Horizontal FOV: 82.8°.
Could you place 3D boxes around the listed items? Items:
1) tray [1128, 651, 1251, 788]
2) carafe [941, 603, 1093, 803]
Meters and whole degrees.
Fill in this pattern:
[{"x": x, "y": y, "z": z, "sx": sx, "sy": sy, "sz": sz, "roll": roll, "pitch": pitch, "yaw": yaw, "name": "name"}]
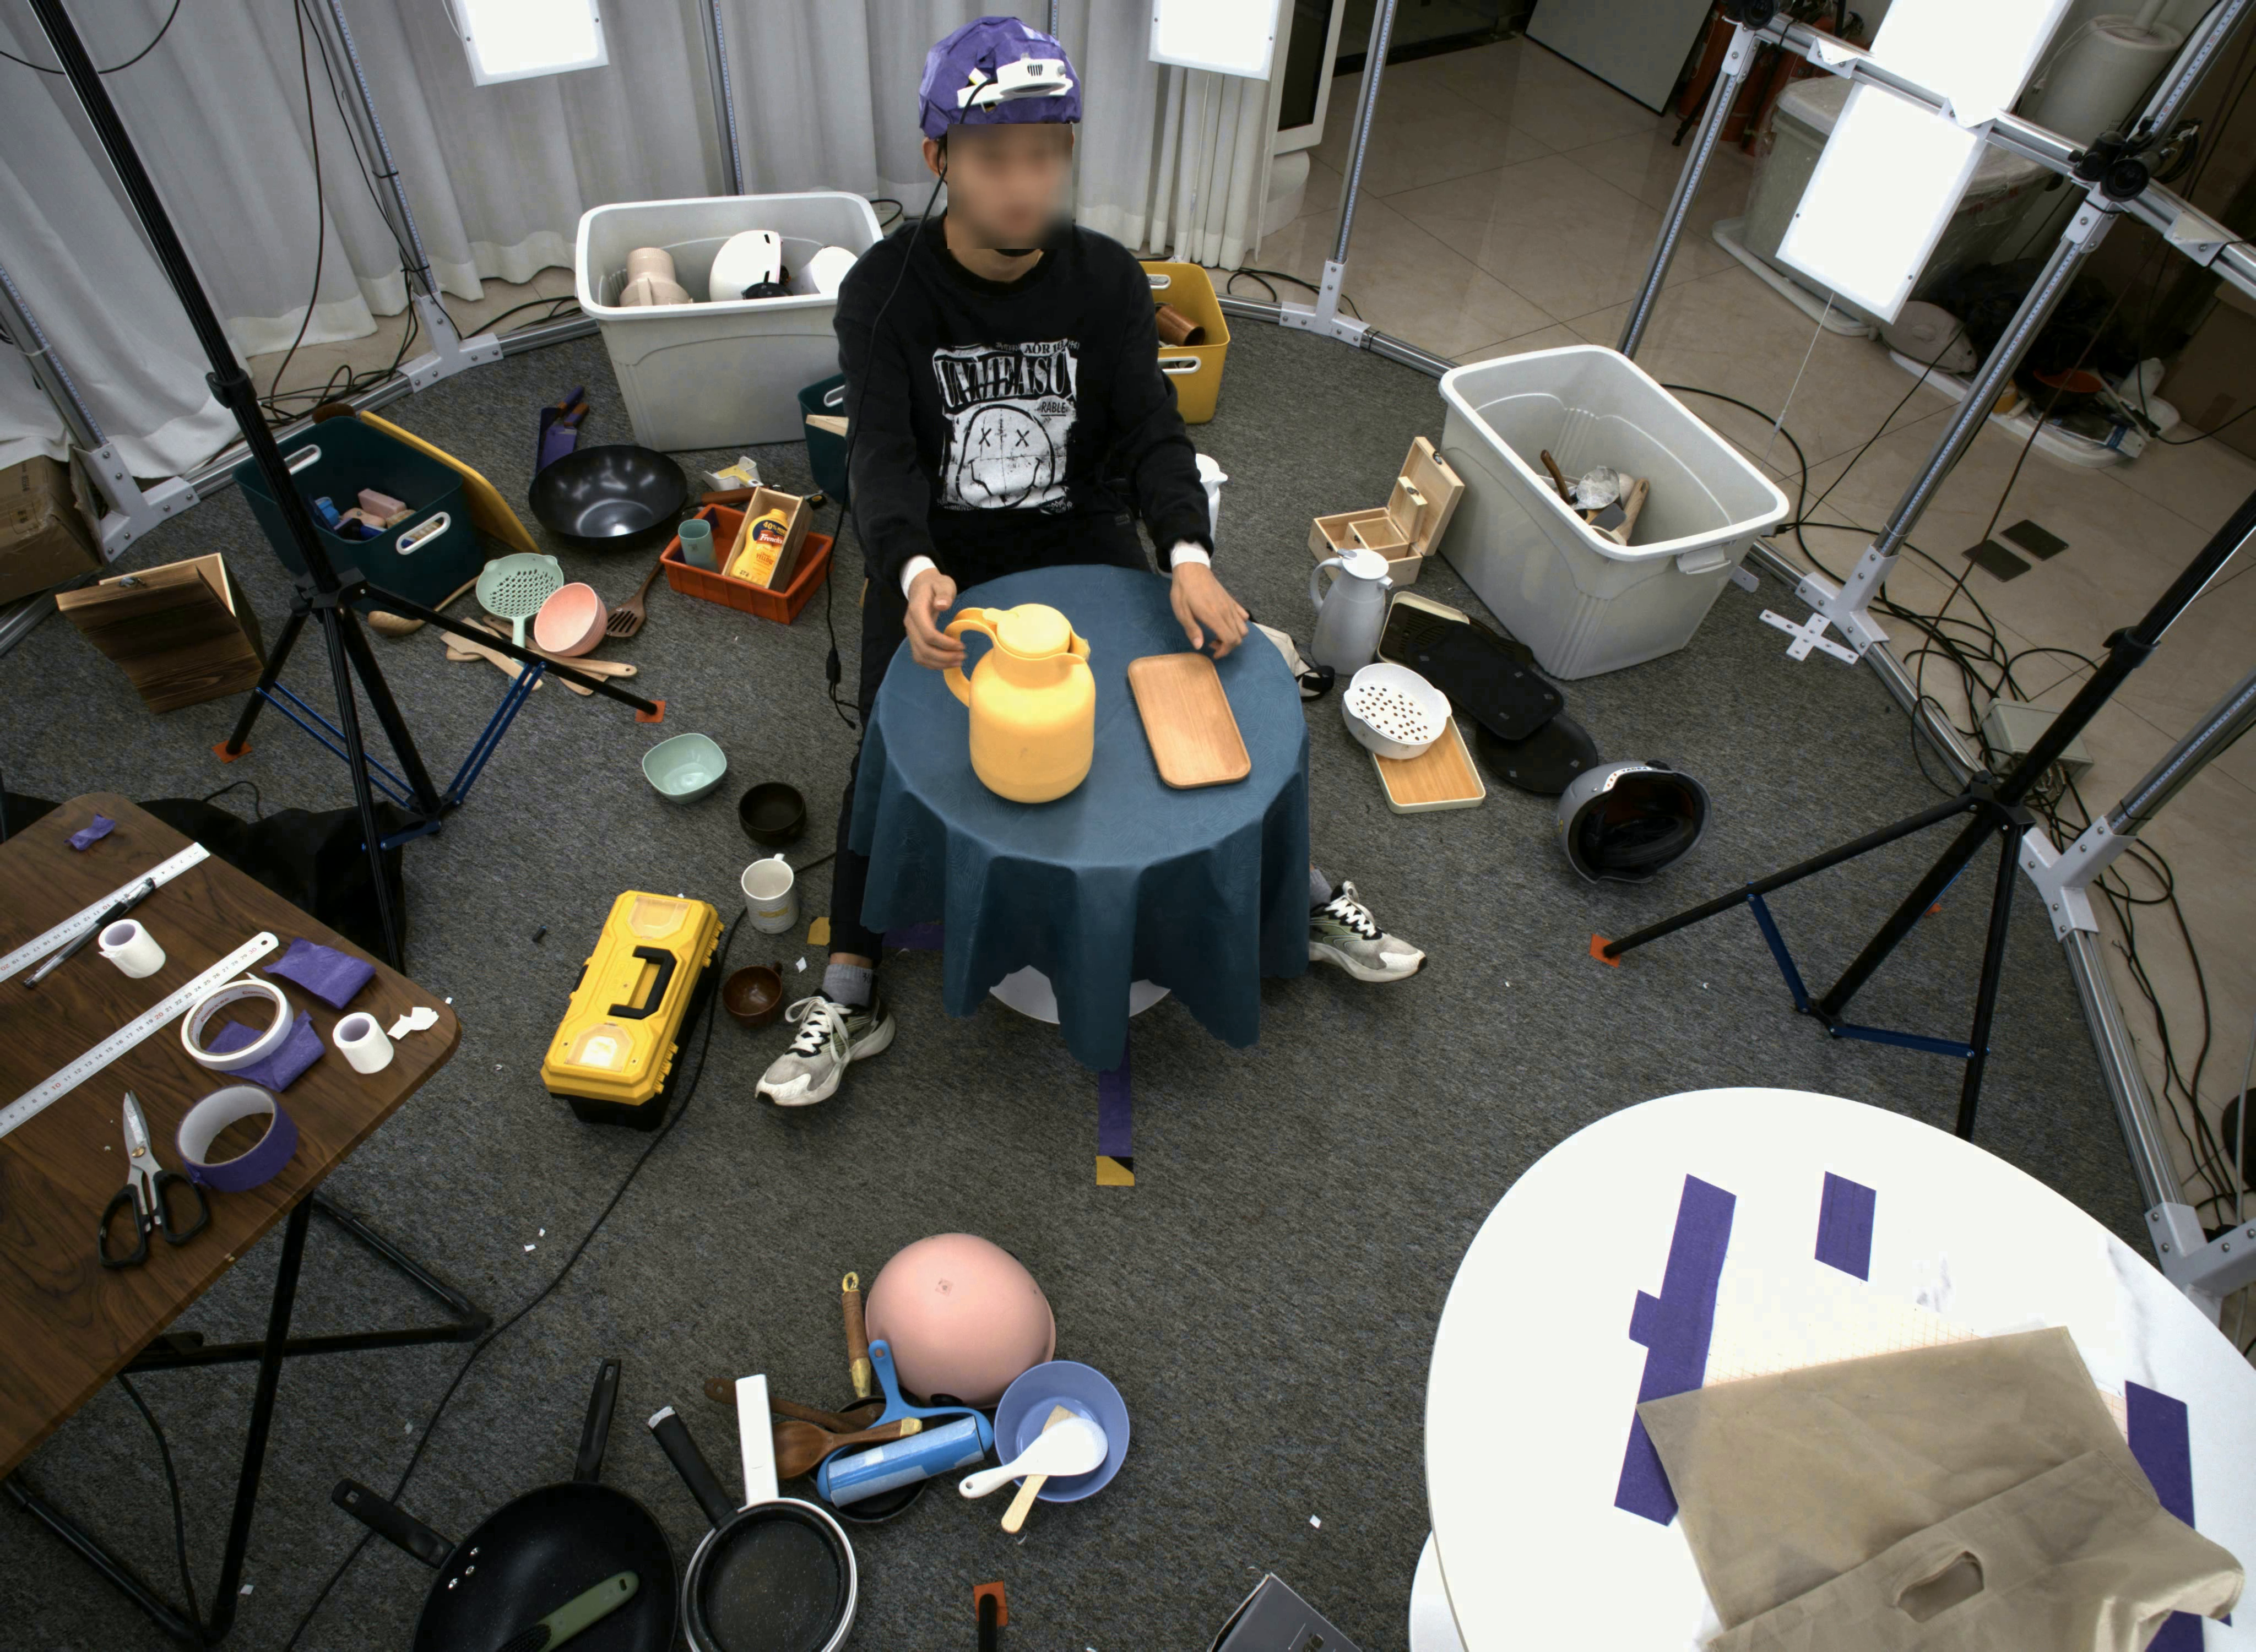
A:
[{"x": 0.083, "y": -0.152, "z": 1.795, "sx": 0.130, "sy": 0.022, "sz": 0.257, "roll": -5, "pitch": 49, "yaw": -11, "name": "tray"}, {"x": -0.142, "y": -0.169, "z": 1.637, "sx": 0.203, "sy": 0.254, "sz": 0.166, "roll": 23, "pitch": 49, "yaw": 13, "name": "carafe"}]
